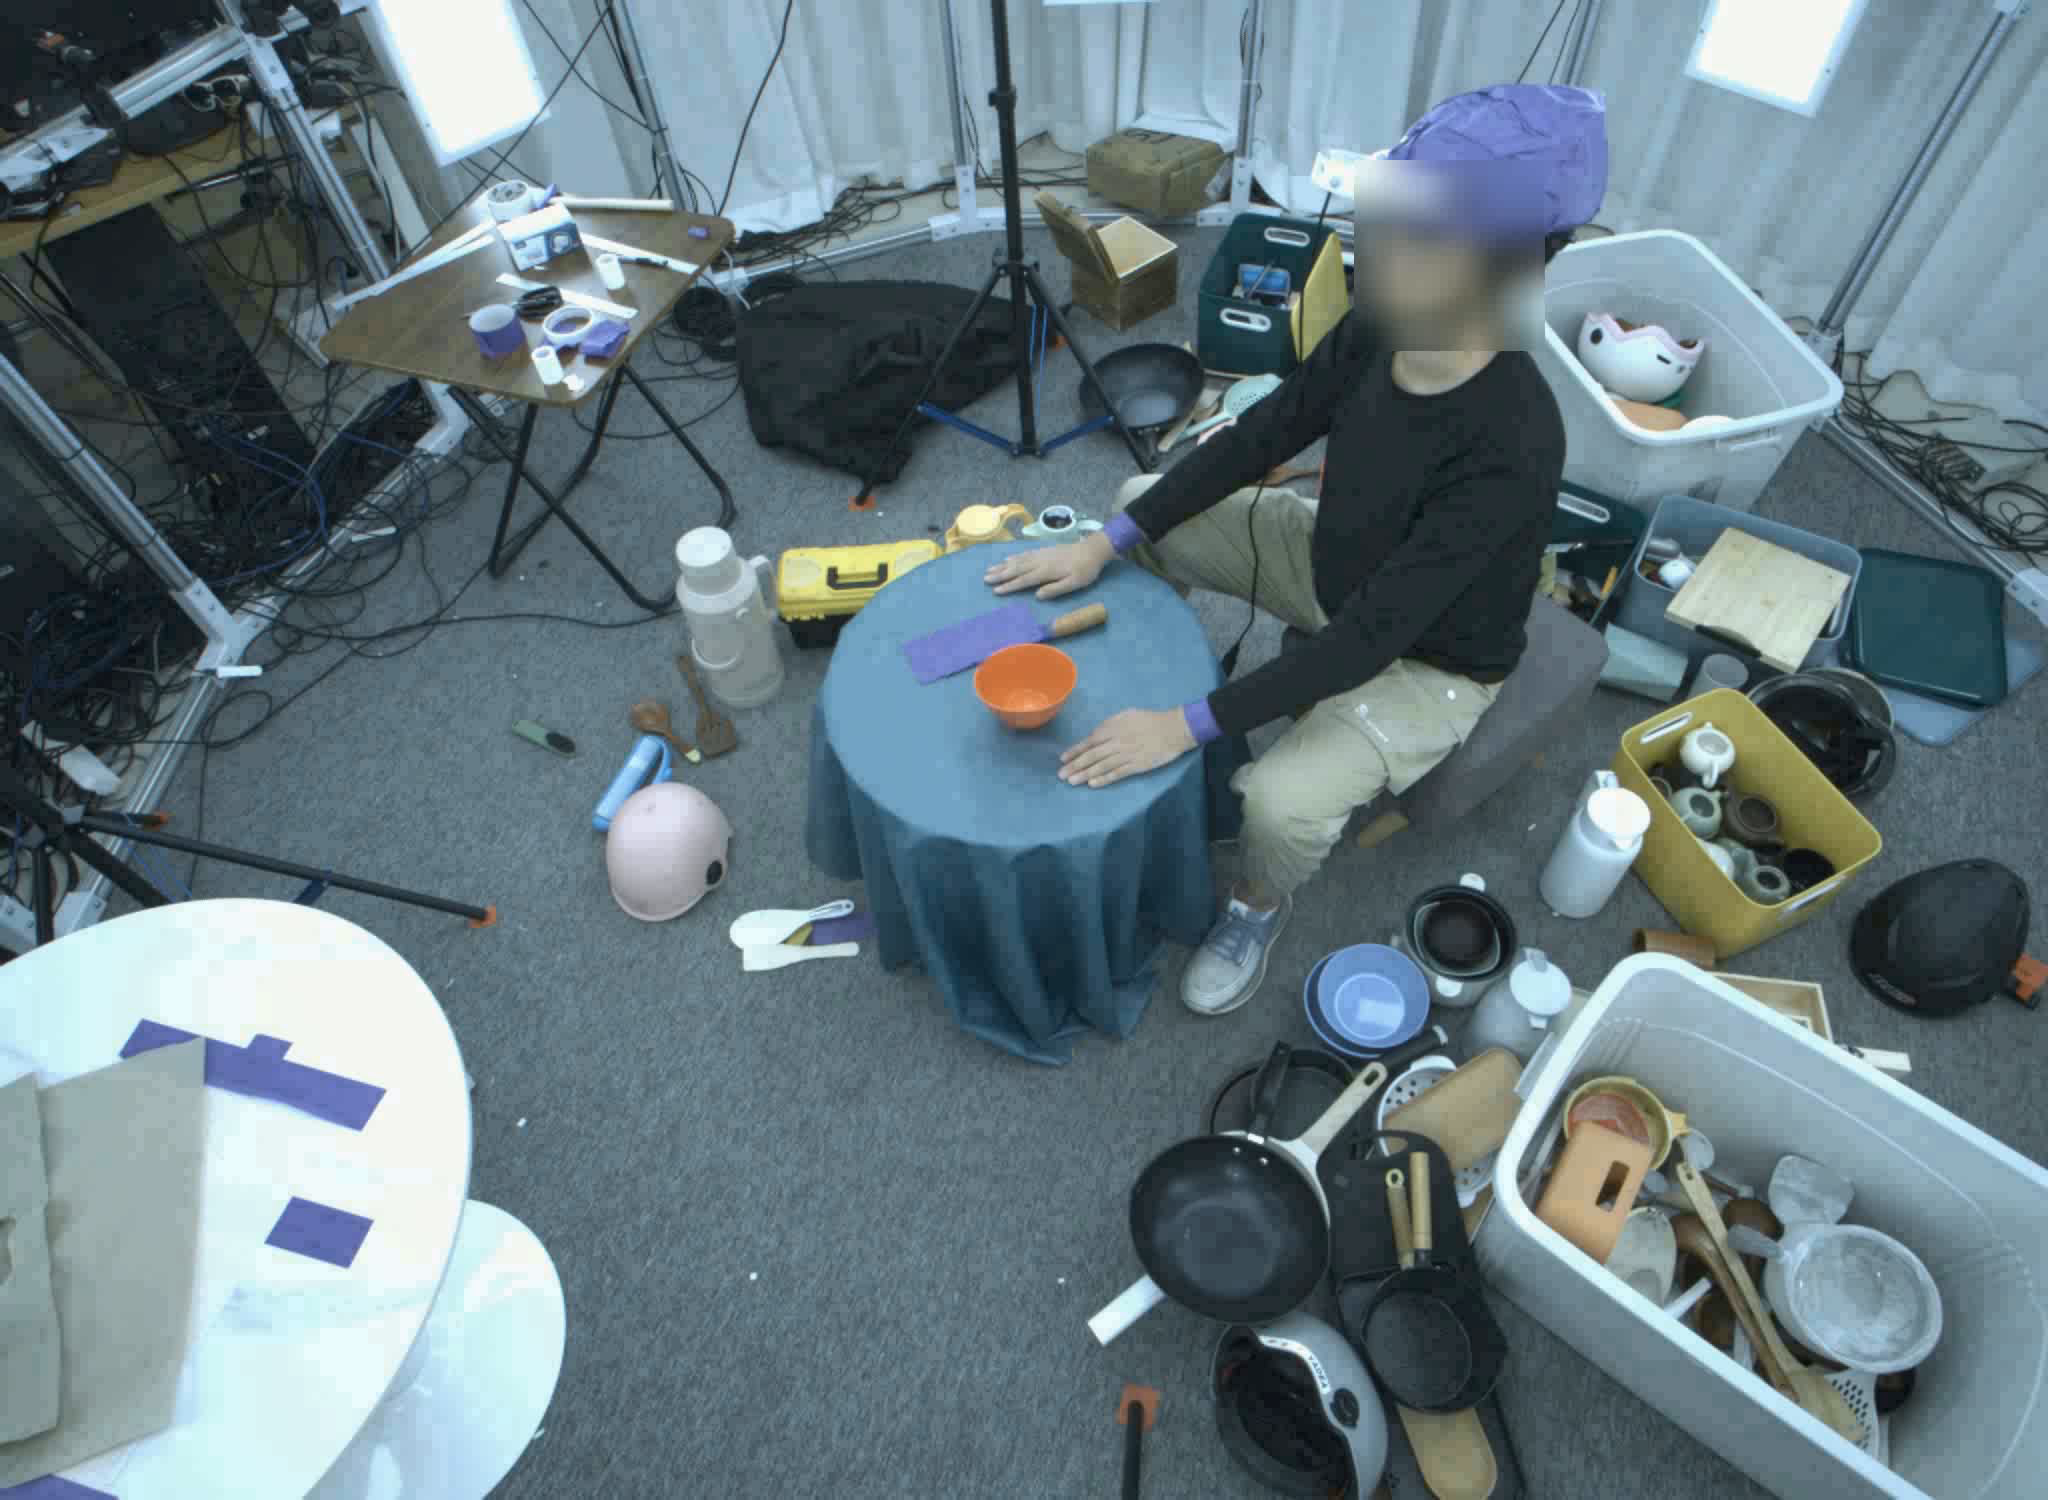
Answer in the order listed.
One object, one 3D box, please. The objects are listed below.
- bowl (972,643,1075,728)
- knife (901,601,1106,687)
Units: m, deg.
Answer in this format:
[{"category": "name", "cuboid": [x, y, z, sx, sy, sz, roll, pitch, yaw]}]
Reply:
[{"category": "bowl", "cuboid": [0.002, -0.079, 1.778, 0.148, 0.106, 0.146, -1, 54, 3]}, {"category": "knife", "cuboid": [-0.034, -0.187, 1.902, 0.317, 0.032, 0.102, -20, 57, -11]}]
